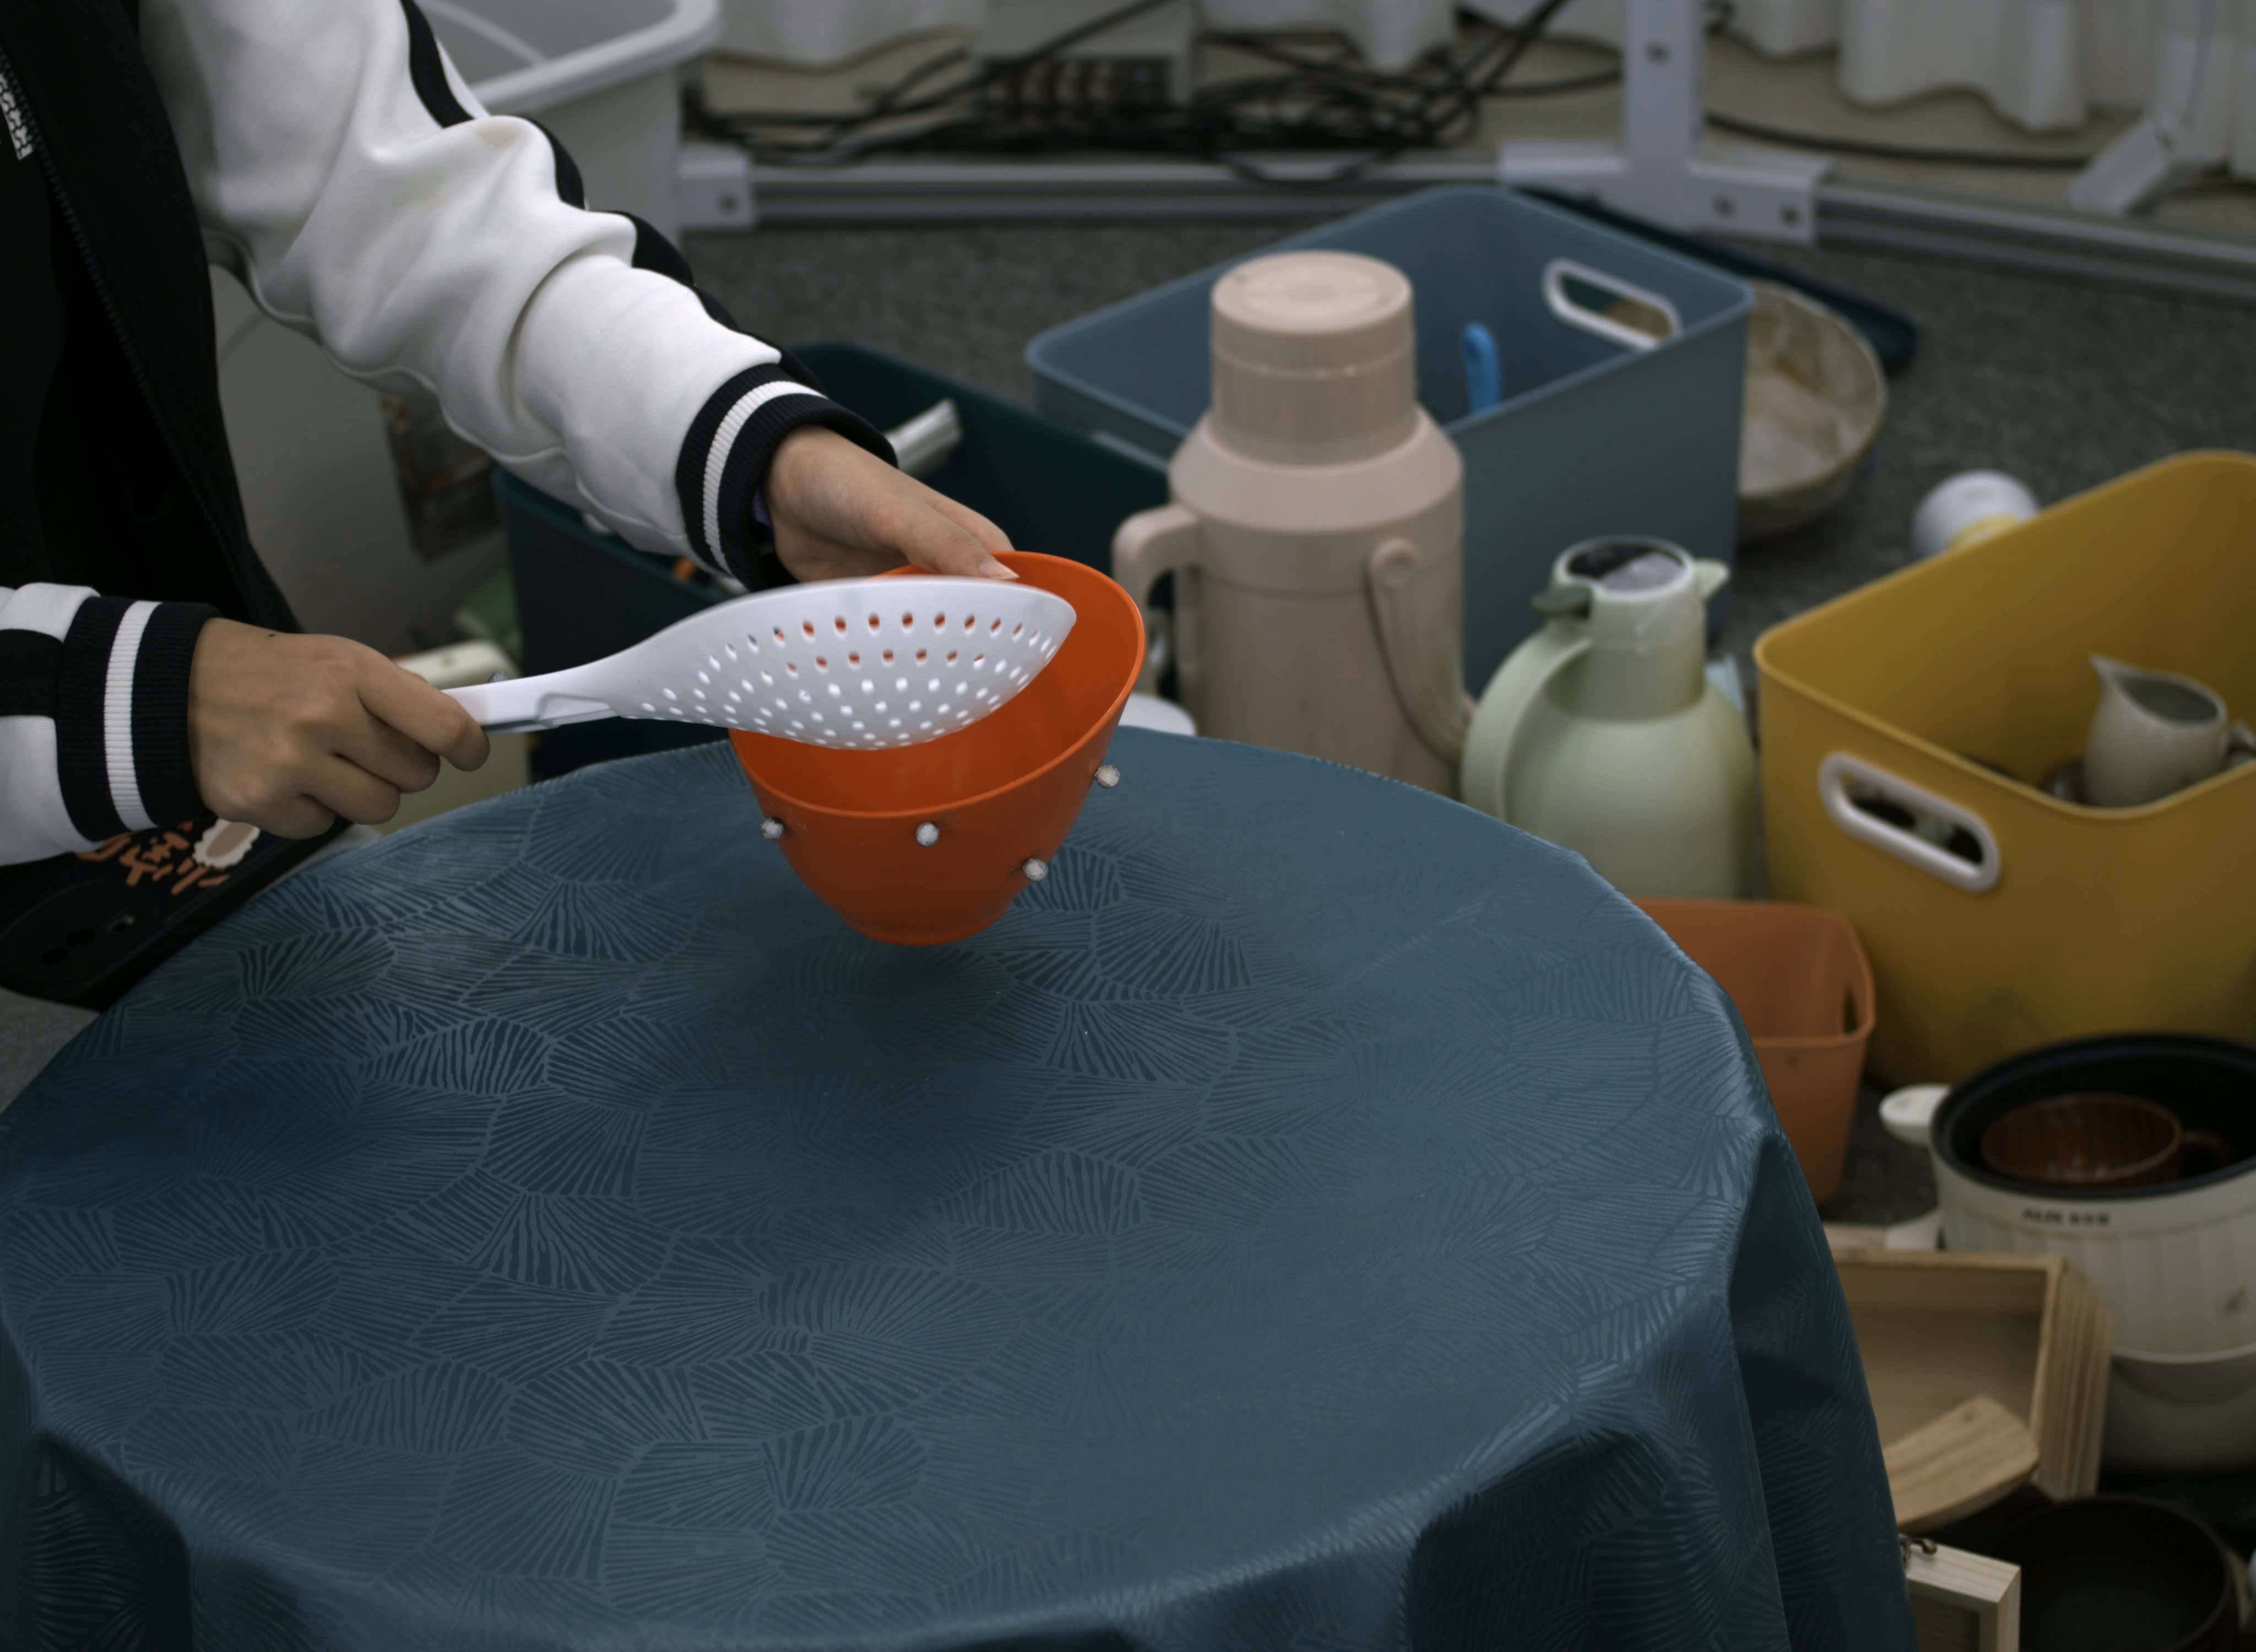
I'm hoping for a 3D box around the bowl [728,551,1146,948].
[{"bbox_3d":[-0.063,-0.018,1.964,0.147,0.103,0.151,-3,38,3],"label":"bowl"}]

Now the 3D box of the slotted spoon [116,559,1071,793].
[{"bbox_3d":[-0.187,-0.045,1.919,0.346,0.046,0.135,-4,-15,19],"label":"slotted spoon"}]
